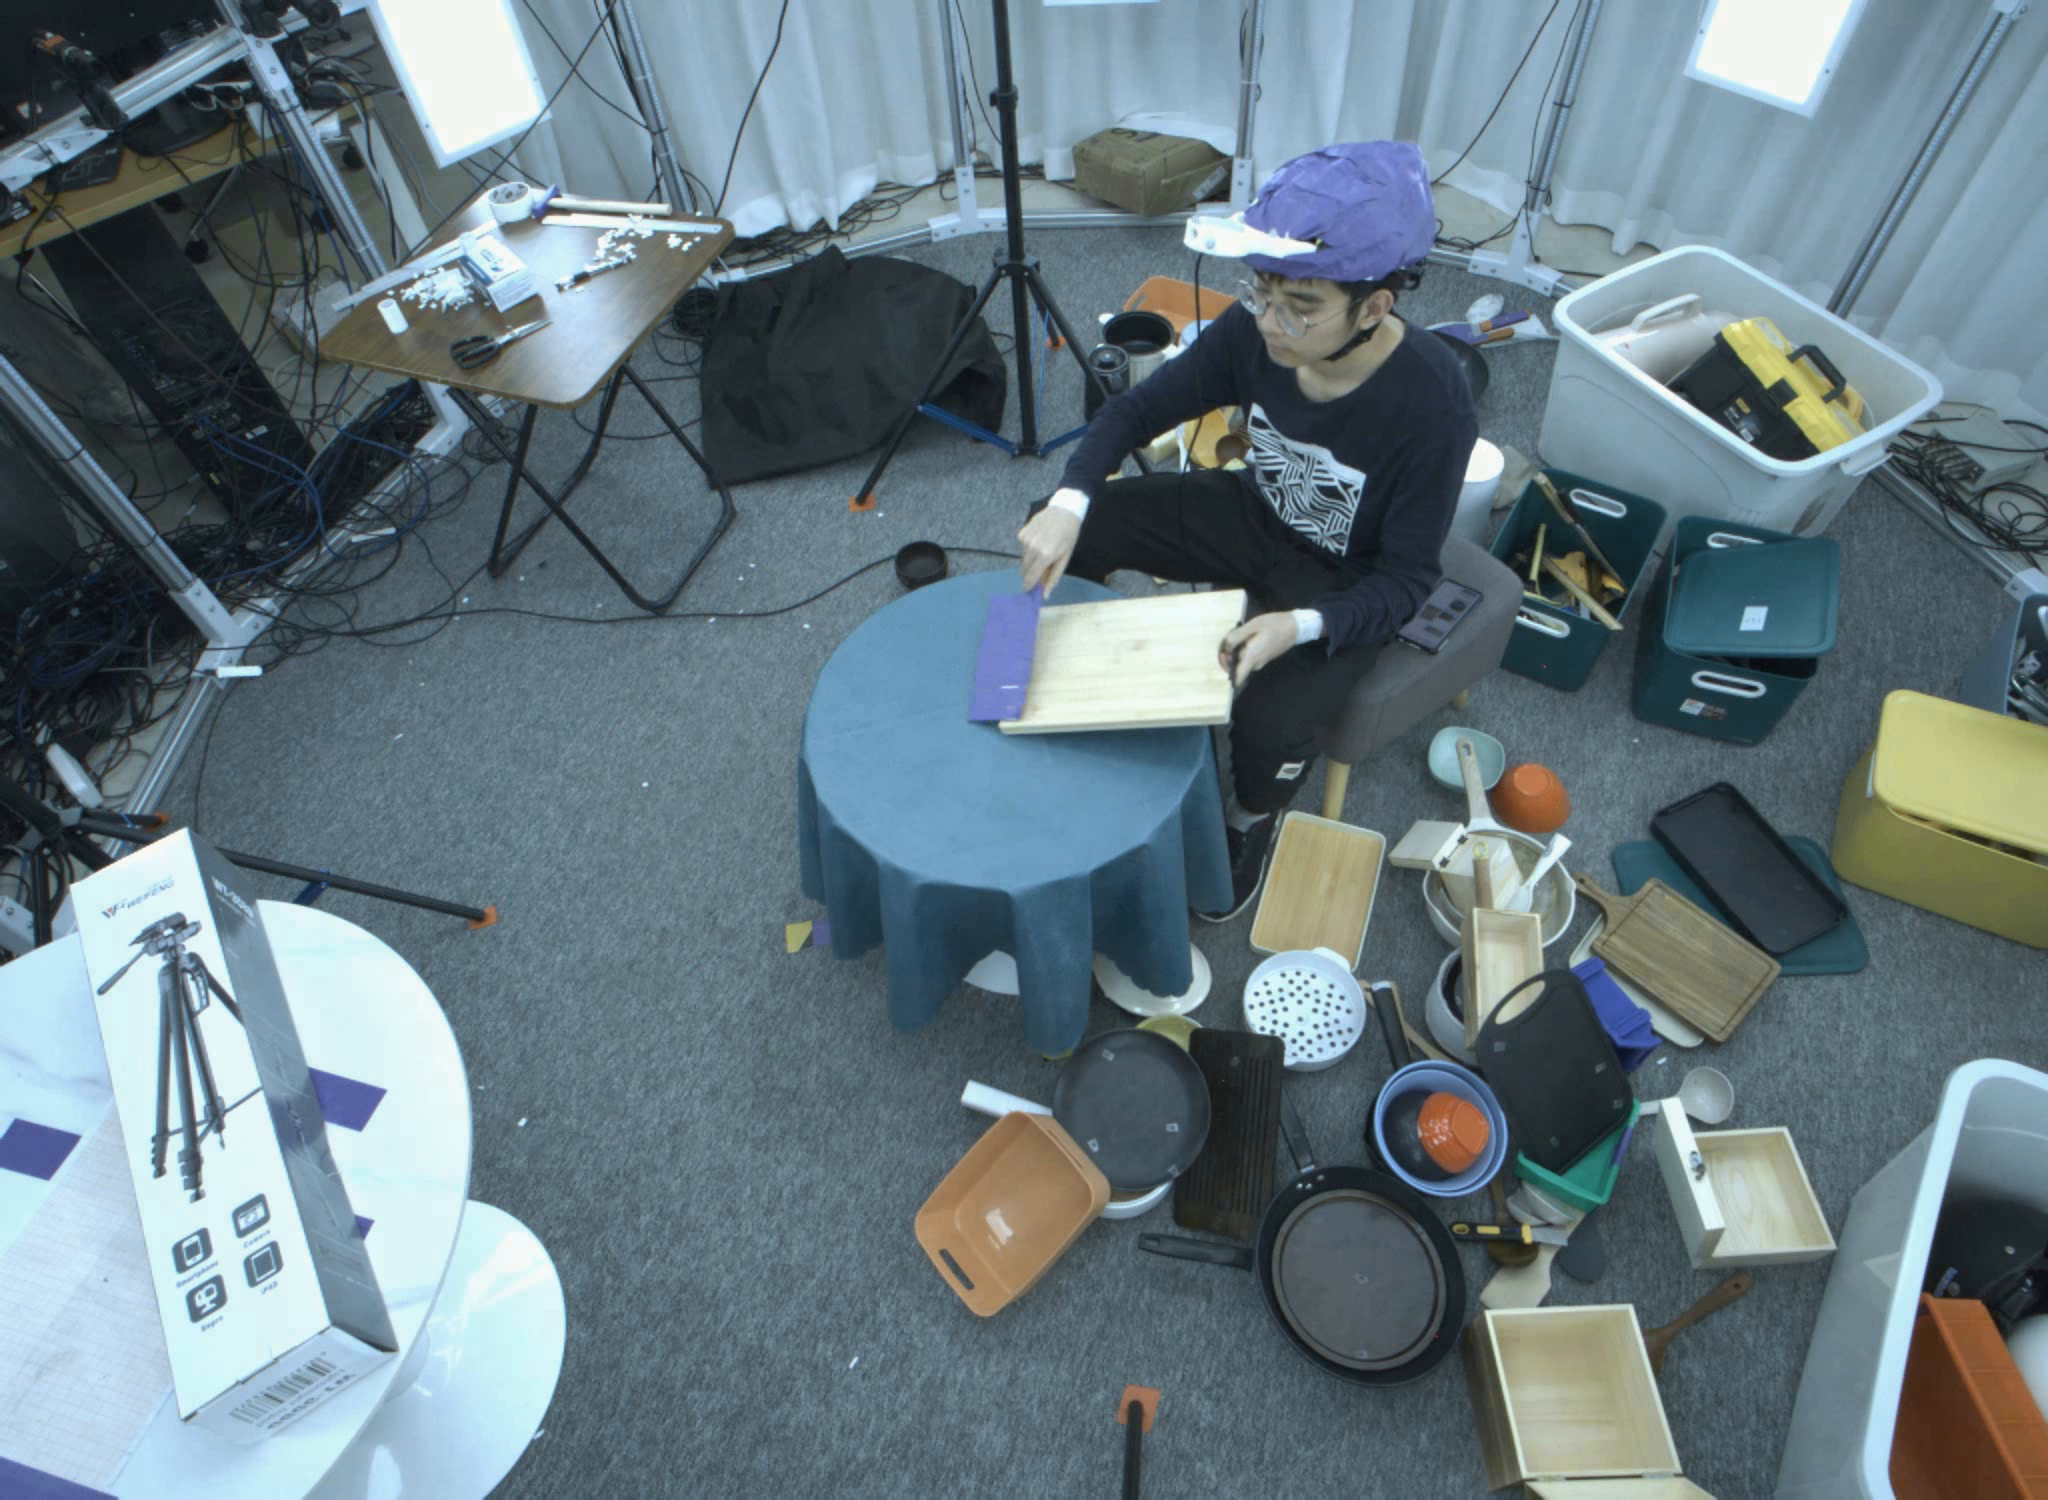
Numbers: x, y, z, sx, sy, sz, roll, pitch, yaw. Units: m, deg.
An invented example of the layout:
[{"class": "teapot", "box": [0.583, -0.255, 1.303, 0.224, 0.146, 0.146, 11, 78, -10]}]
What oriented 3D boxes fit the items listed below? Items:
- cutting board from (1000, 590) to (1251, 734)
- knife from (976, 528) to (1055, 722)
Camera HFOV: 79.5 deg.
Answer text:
[{"class": "cutting board", "box": [0.151, -0.130, 1.813, 0.344, 0.024, 0.249, -3, 52, 21]}, {"class": "knife", "box": [-0.017, -0.190, 1.846, 0.102, 0.033, 0.313, 0, 69, 23]}]
